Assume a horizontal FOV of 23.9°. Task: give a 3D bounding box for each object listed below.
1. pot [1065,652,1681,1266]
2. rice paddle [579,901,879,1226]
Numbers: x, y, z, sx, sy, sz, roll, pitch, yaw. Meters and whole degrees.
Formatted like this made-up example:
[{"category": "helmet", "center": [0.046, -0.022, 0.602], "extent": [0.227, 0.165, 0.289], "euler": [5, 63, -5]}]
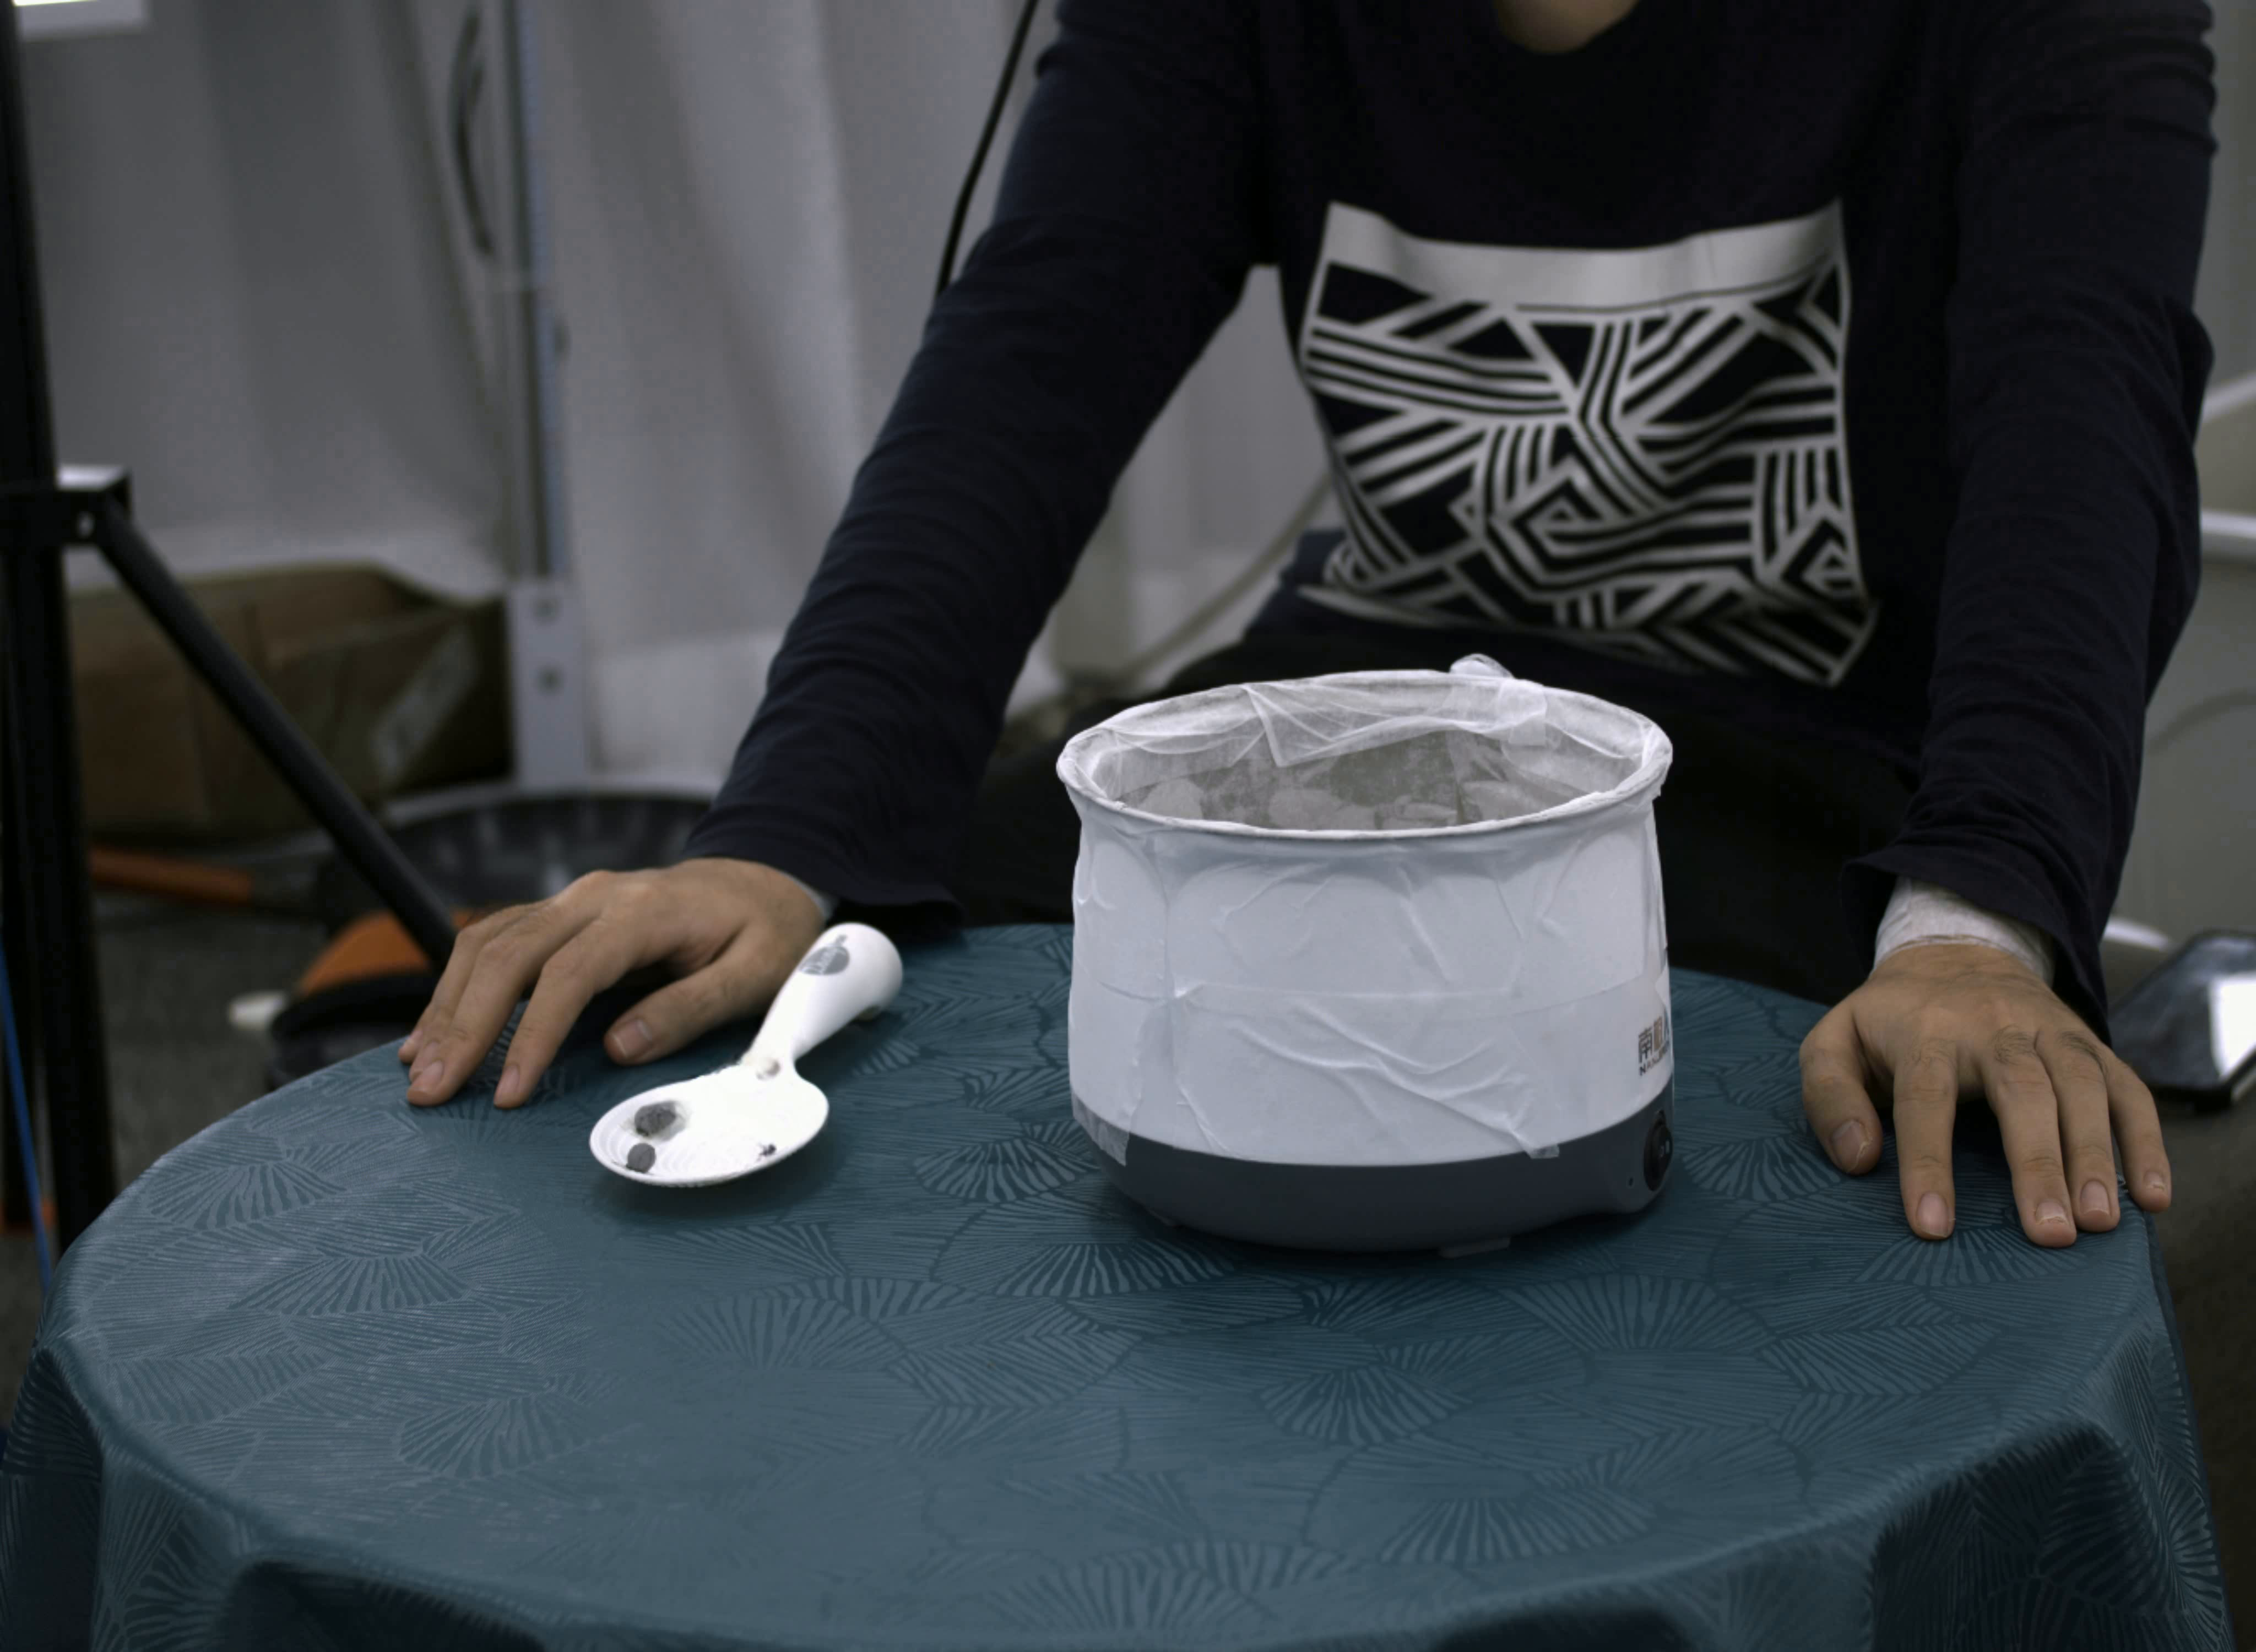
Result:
[{"category": "pot", "center": [0.080, 0.032, 1.567], "extent": [0.181, 0.136, 0.231], "euler": [6, 18, 21]}, {"category": "rice paddle", "center": [-0.117, 0.076, 1.661], "extent": [0.069, 0.029, 0.204], "euler": [6, 24, 11]}]
